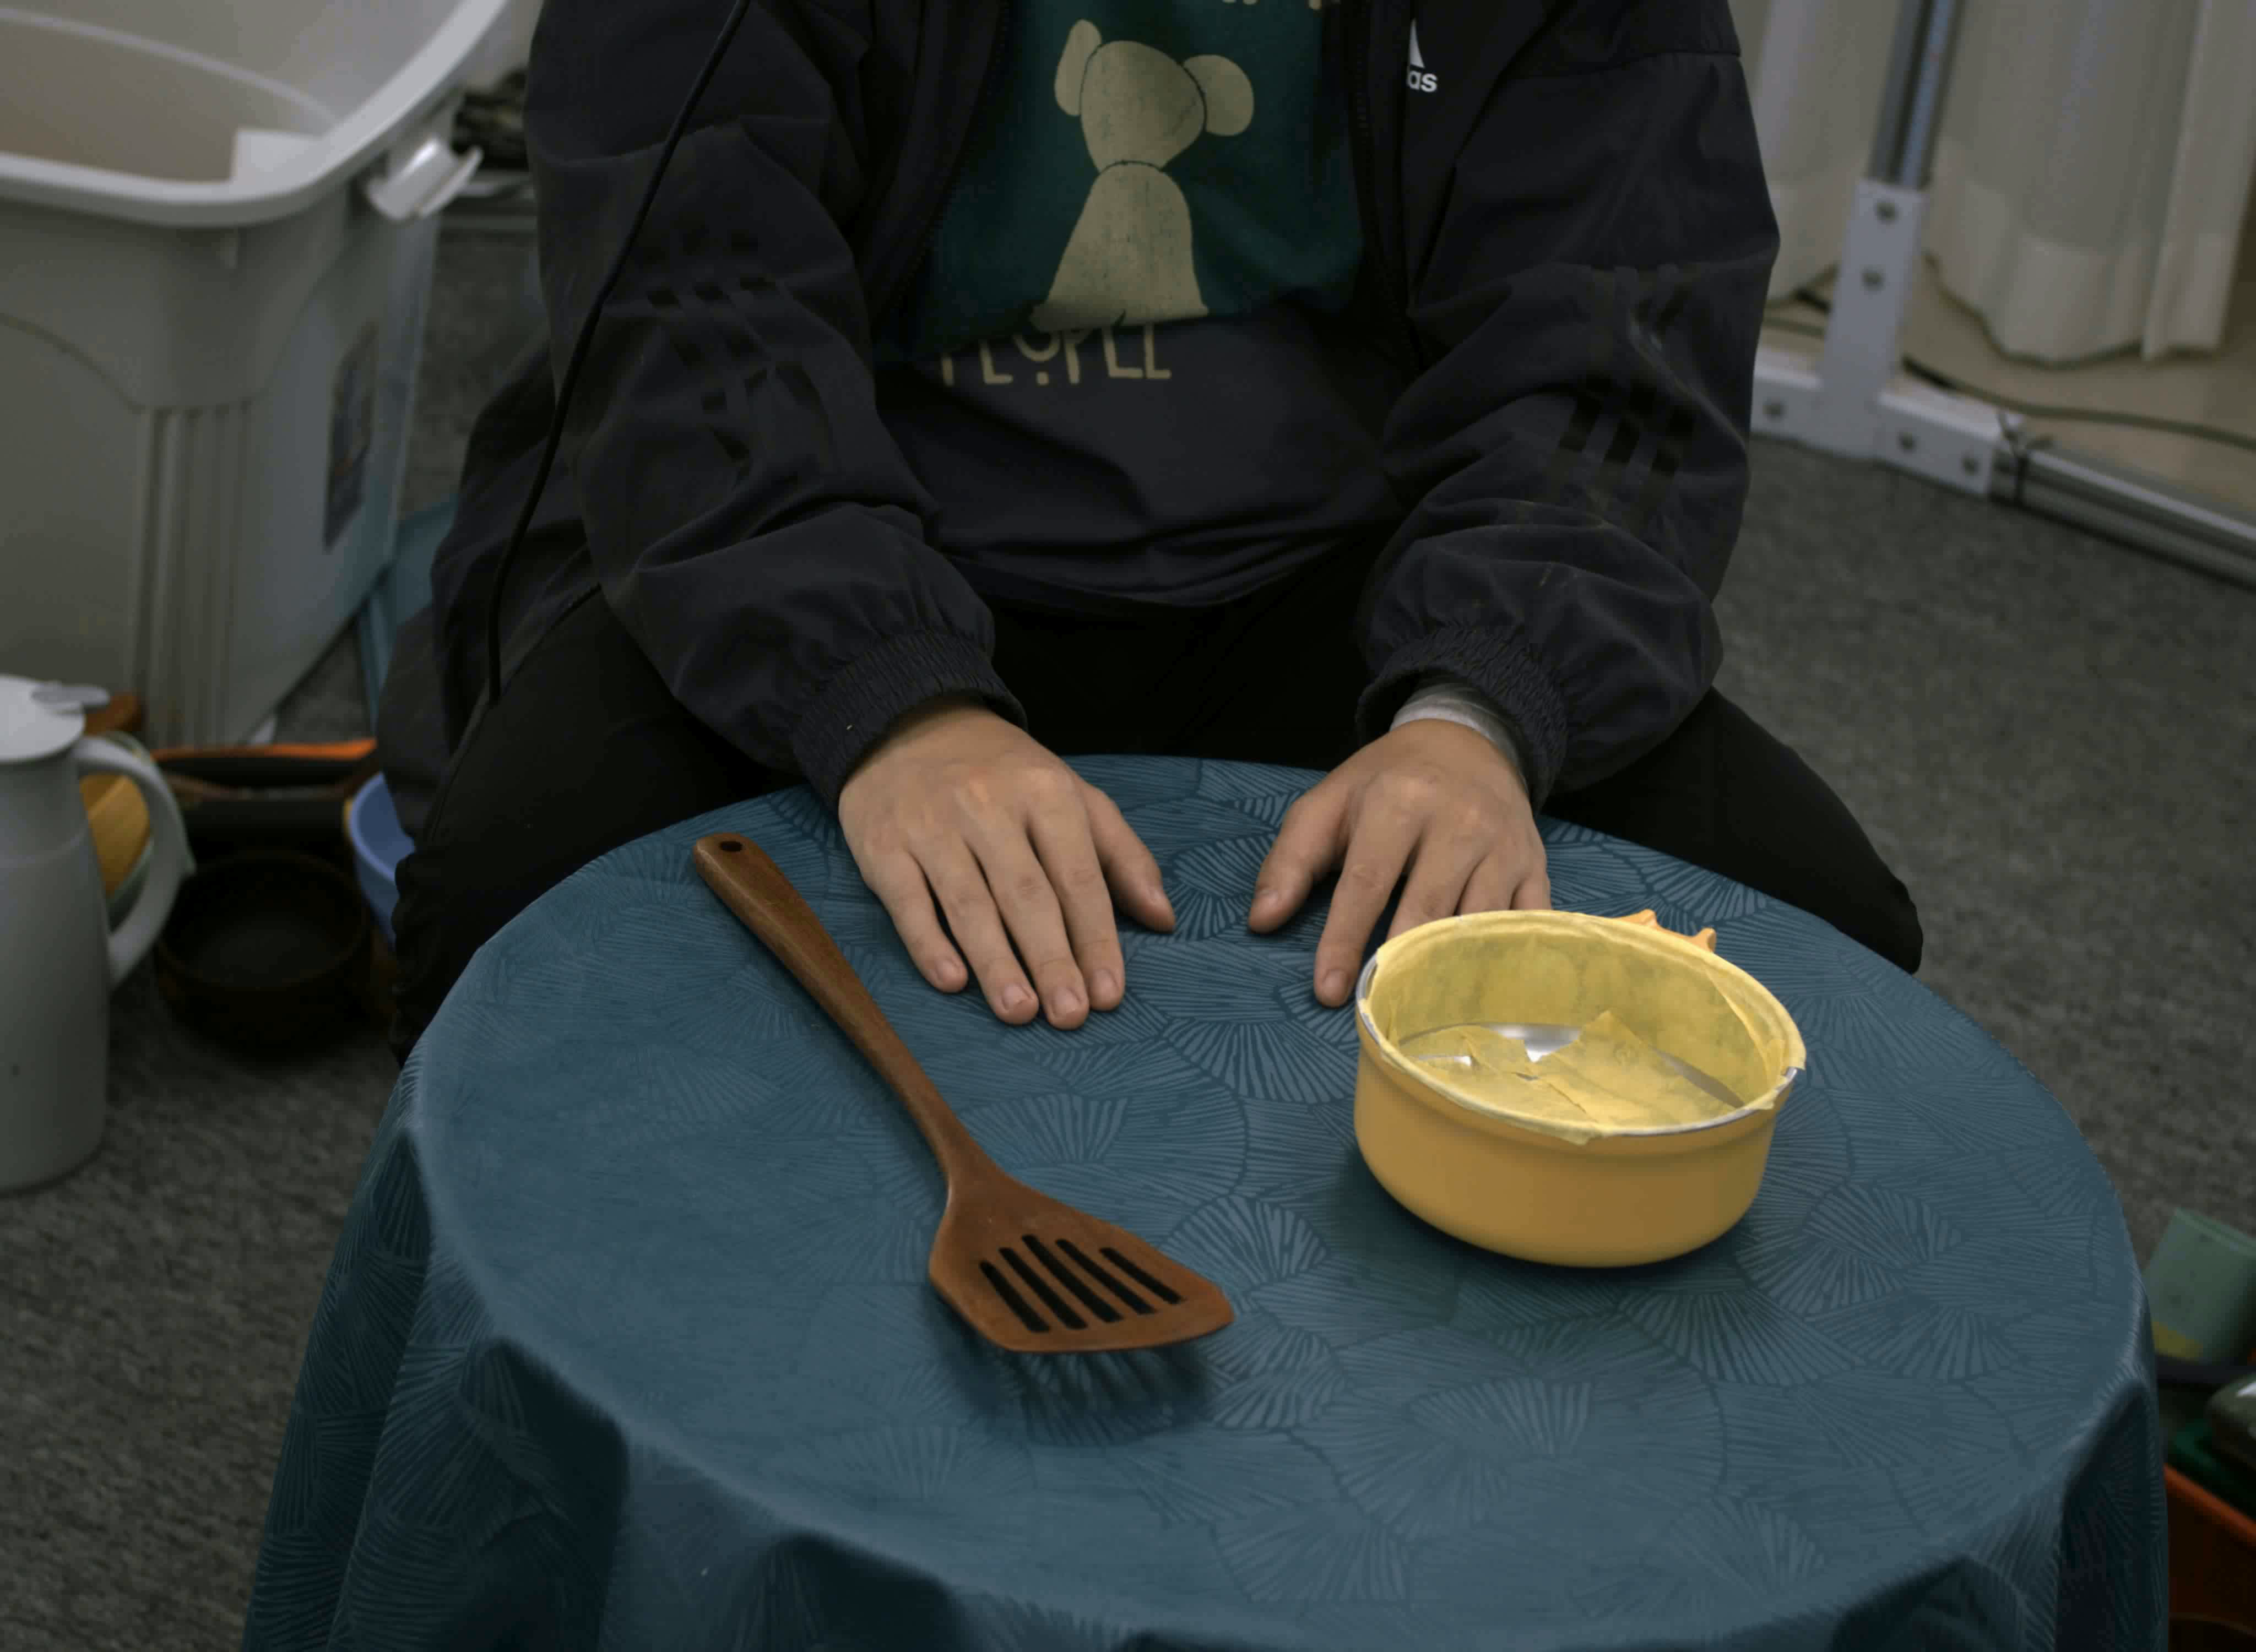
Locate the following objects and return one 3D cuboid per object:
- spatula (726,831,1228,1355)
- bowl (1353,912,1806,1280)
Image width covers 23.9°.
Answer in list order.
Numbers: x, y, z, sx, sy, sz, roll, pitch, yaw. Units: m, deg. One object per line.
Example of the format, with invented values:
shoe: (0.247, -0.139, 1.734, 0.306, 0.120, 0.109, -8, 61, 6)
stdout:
spatula: (-0.072, 0.090, 1.834, 0.085, 0.024, 0.390, -4, 27, -22)
bowl: (0.157, 0.091, 1.837, 0.153, 0.074, 0.179, 16, 29, 16)
